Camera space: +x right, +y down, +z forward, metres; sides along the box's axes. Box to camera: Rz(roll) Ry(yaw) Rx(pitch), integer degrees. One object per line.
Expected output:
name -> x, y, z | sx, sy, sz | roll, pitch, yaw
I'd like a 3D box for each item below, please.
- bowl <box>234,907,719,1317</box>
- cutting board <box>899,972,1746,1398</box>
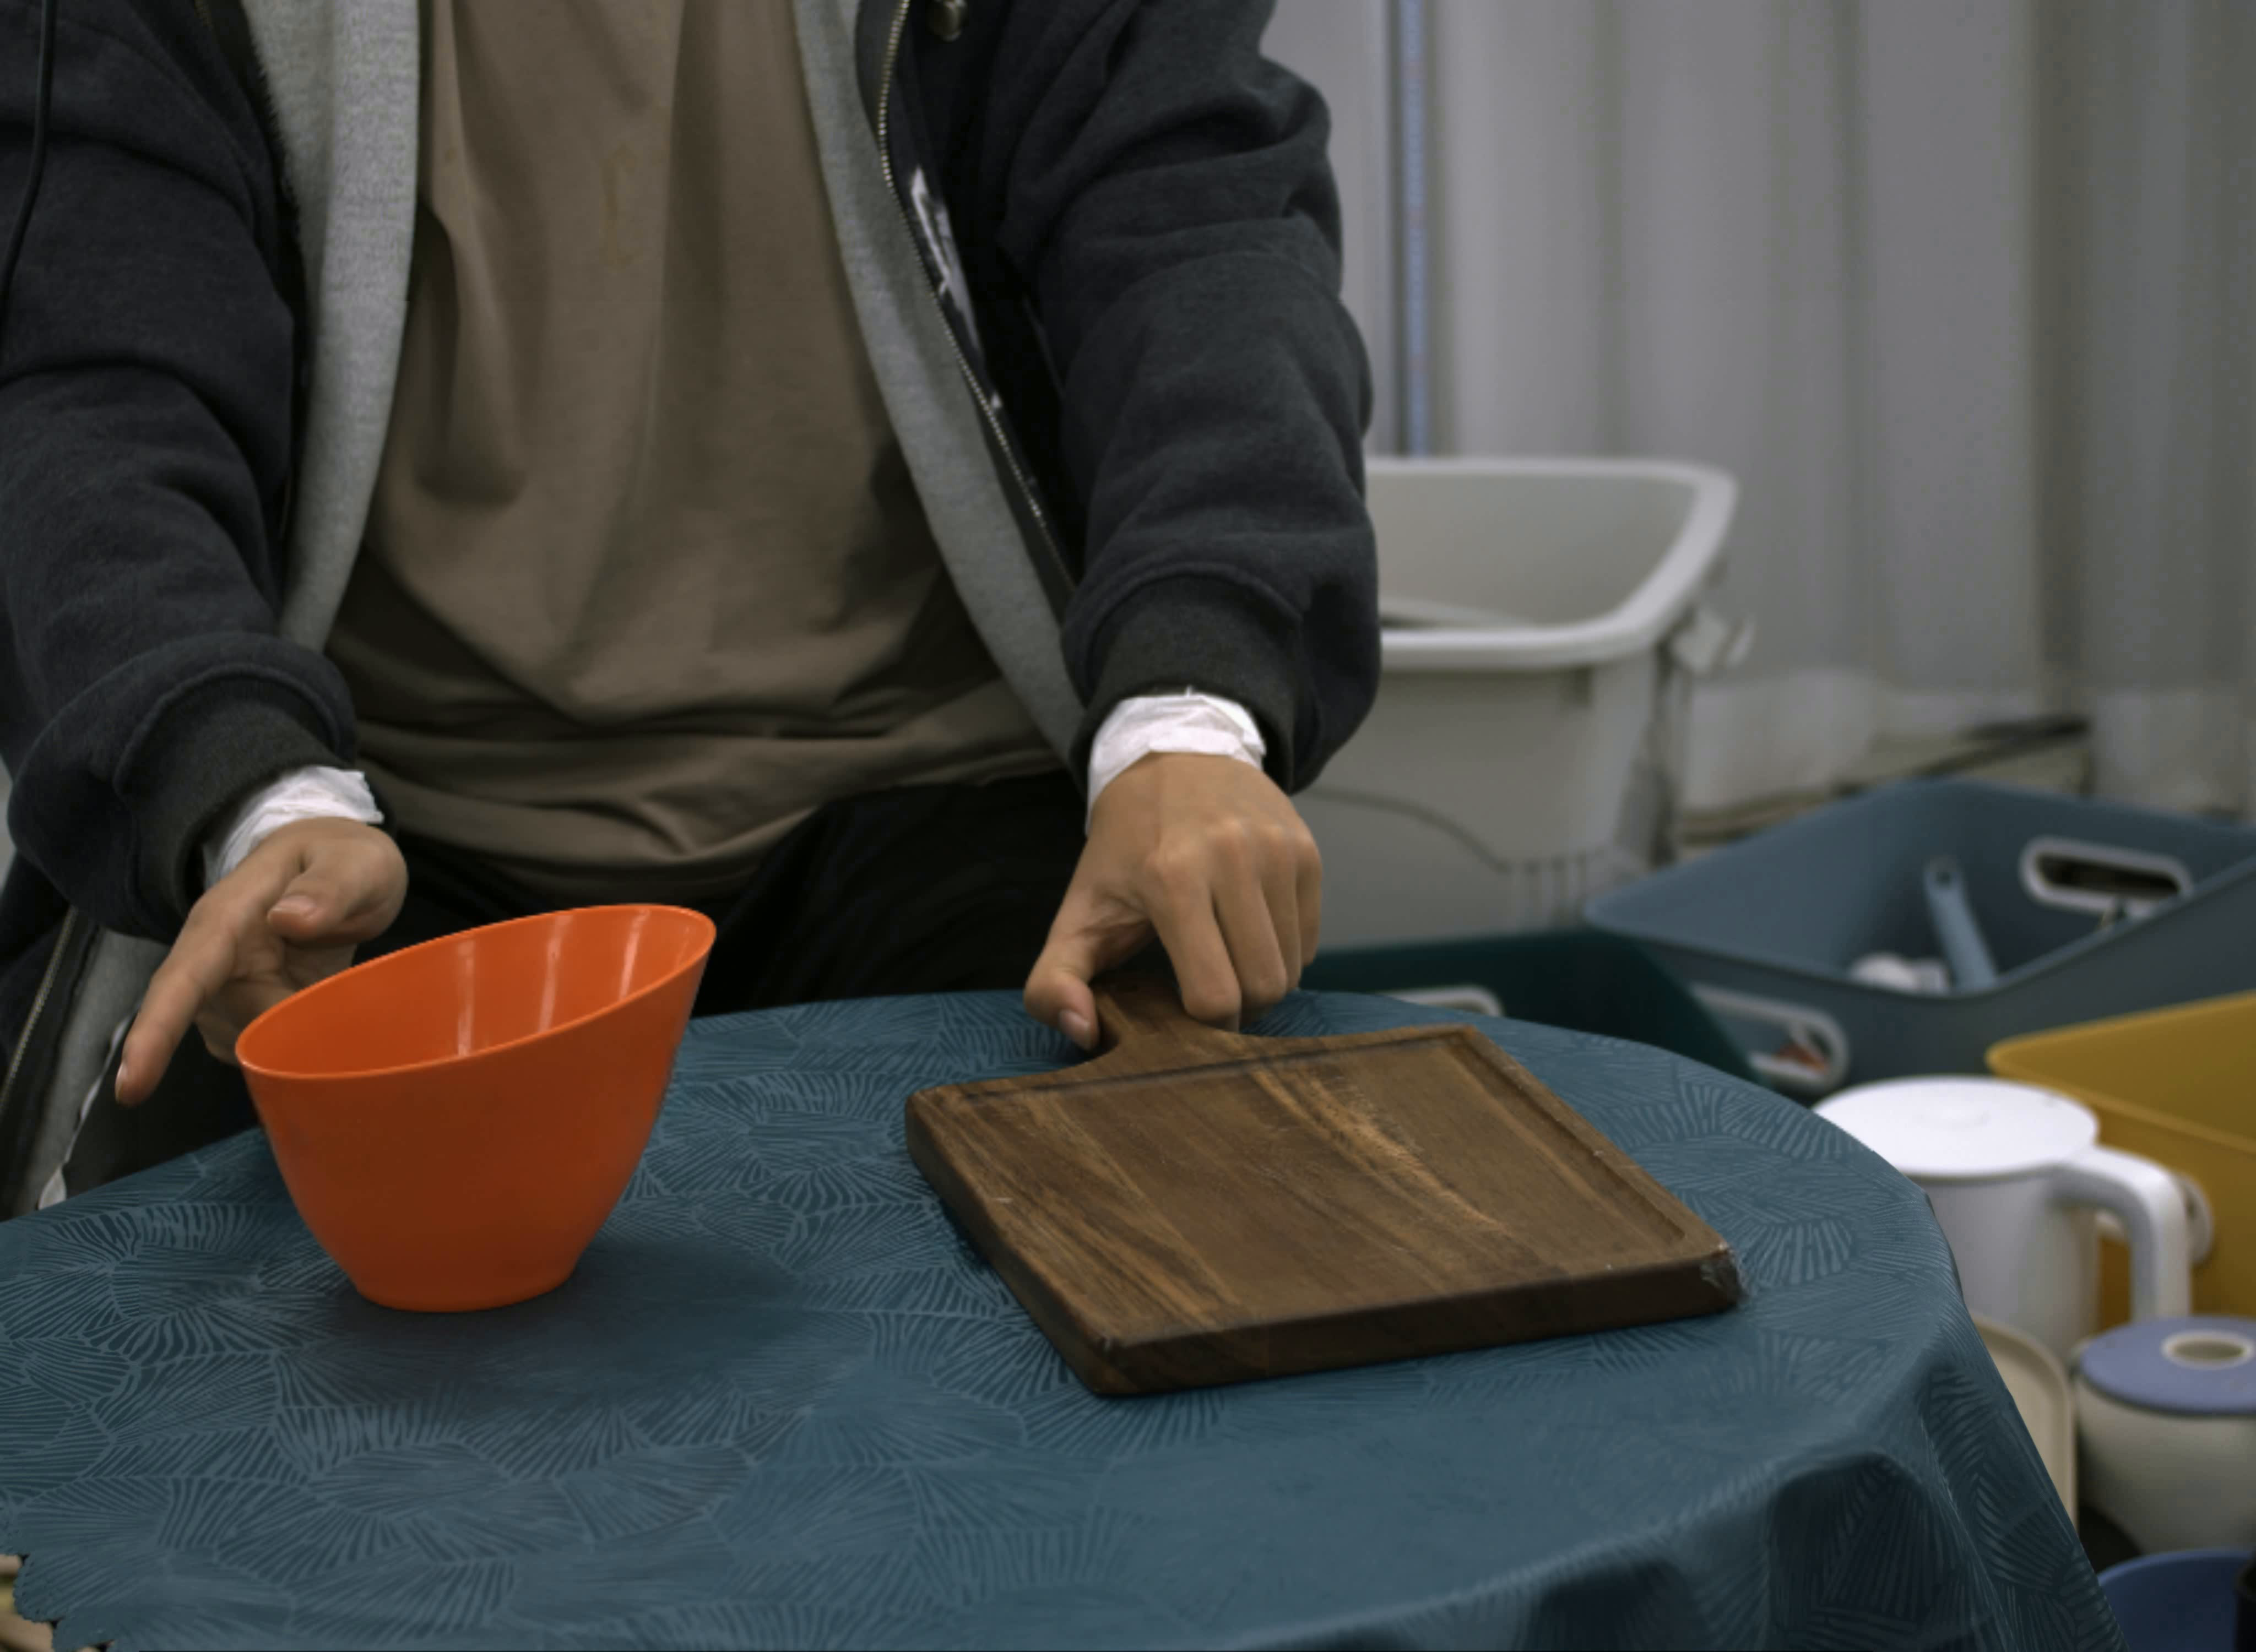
bowl -> -0.194, 0.089, 1.656 | 0.147, 0.104, 0.149 | -3, 15, 0
cutting board -> 0.040, 0.101, 1.720 | 0.200, 0.023, 0.355 | -7, 15, -14
